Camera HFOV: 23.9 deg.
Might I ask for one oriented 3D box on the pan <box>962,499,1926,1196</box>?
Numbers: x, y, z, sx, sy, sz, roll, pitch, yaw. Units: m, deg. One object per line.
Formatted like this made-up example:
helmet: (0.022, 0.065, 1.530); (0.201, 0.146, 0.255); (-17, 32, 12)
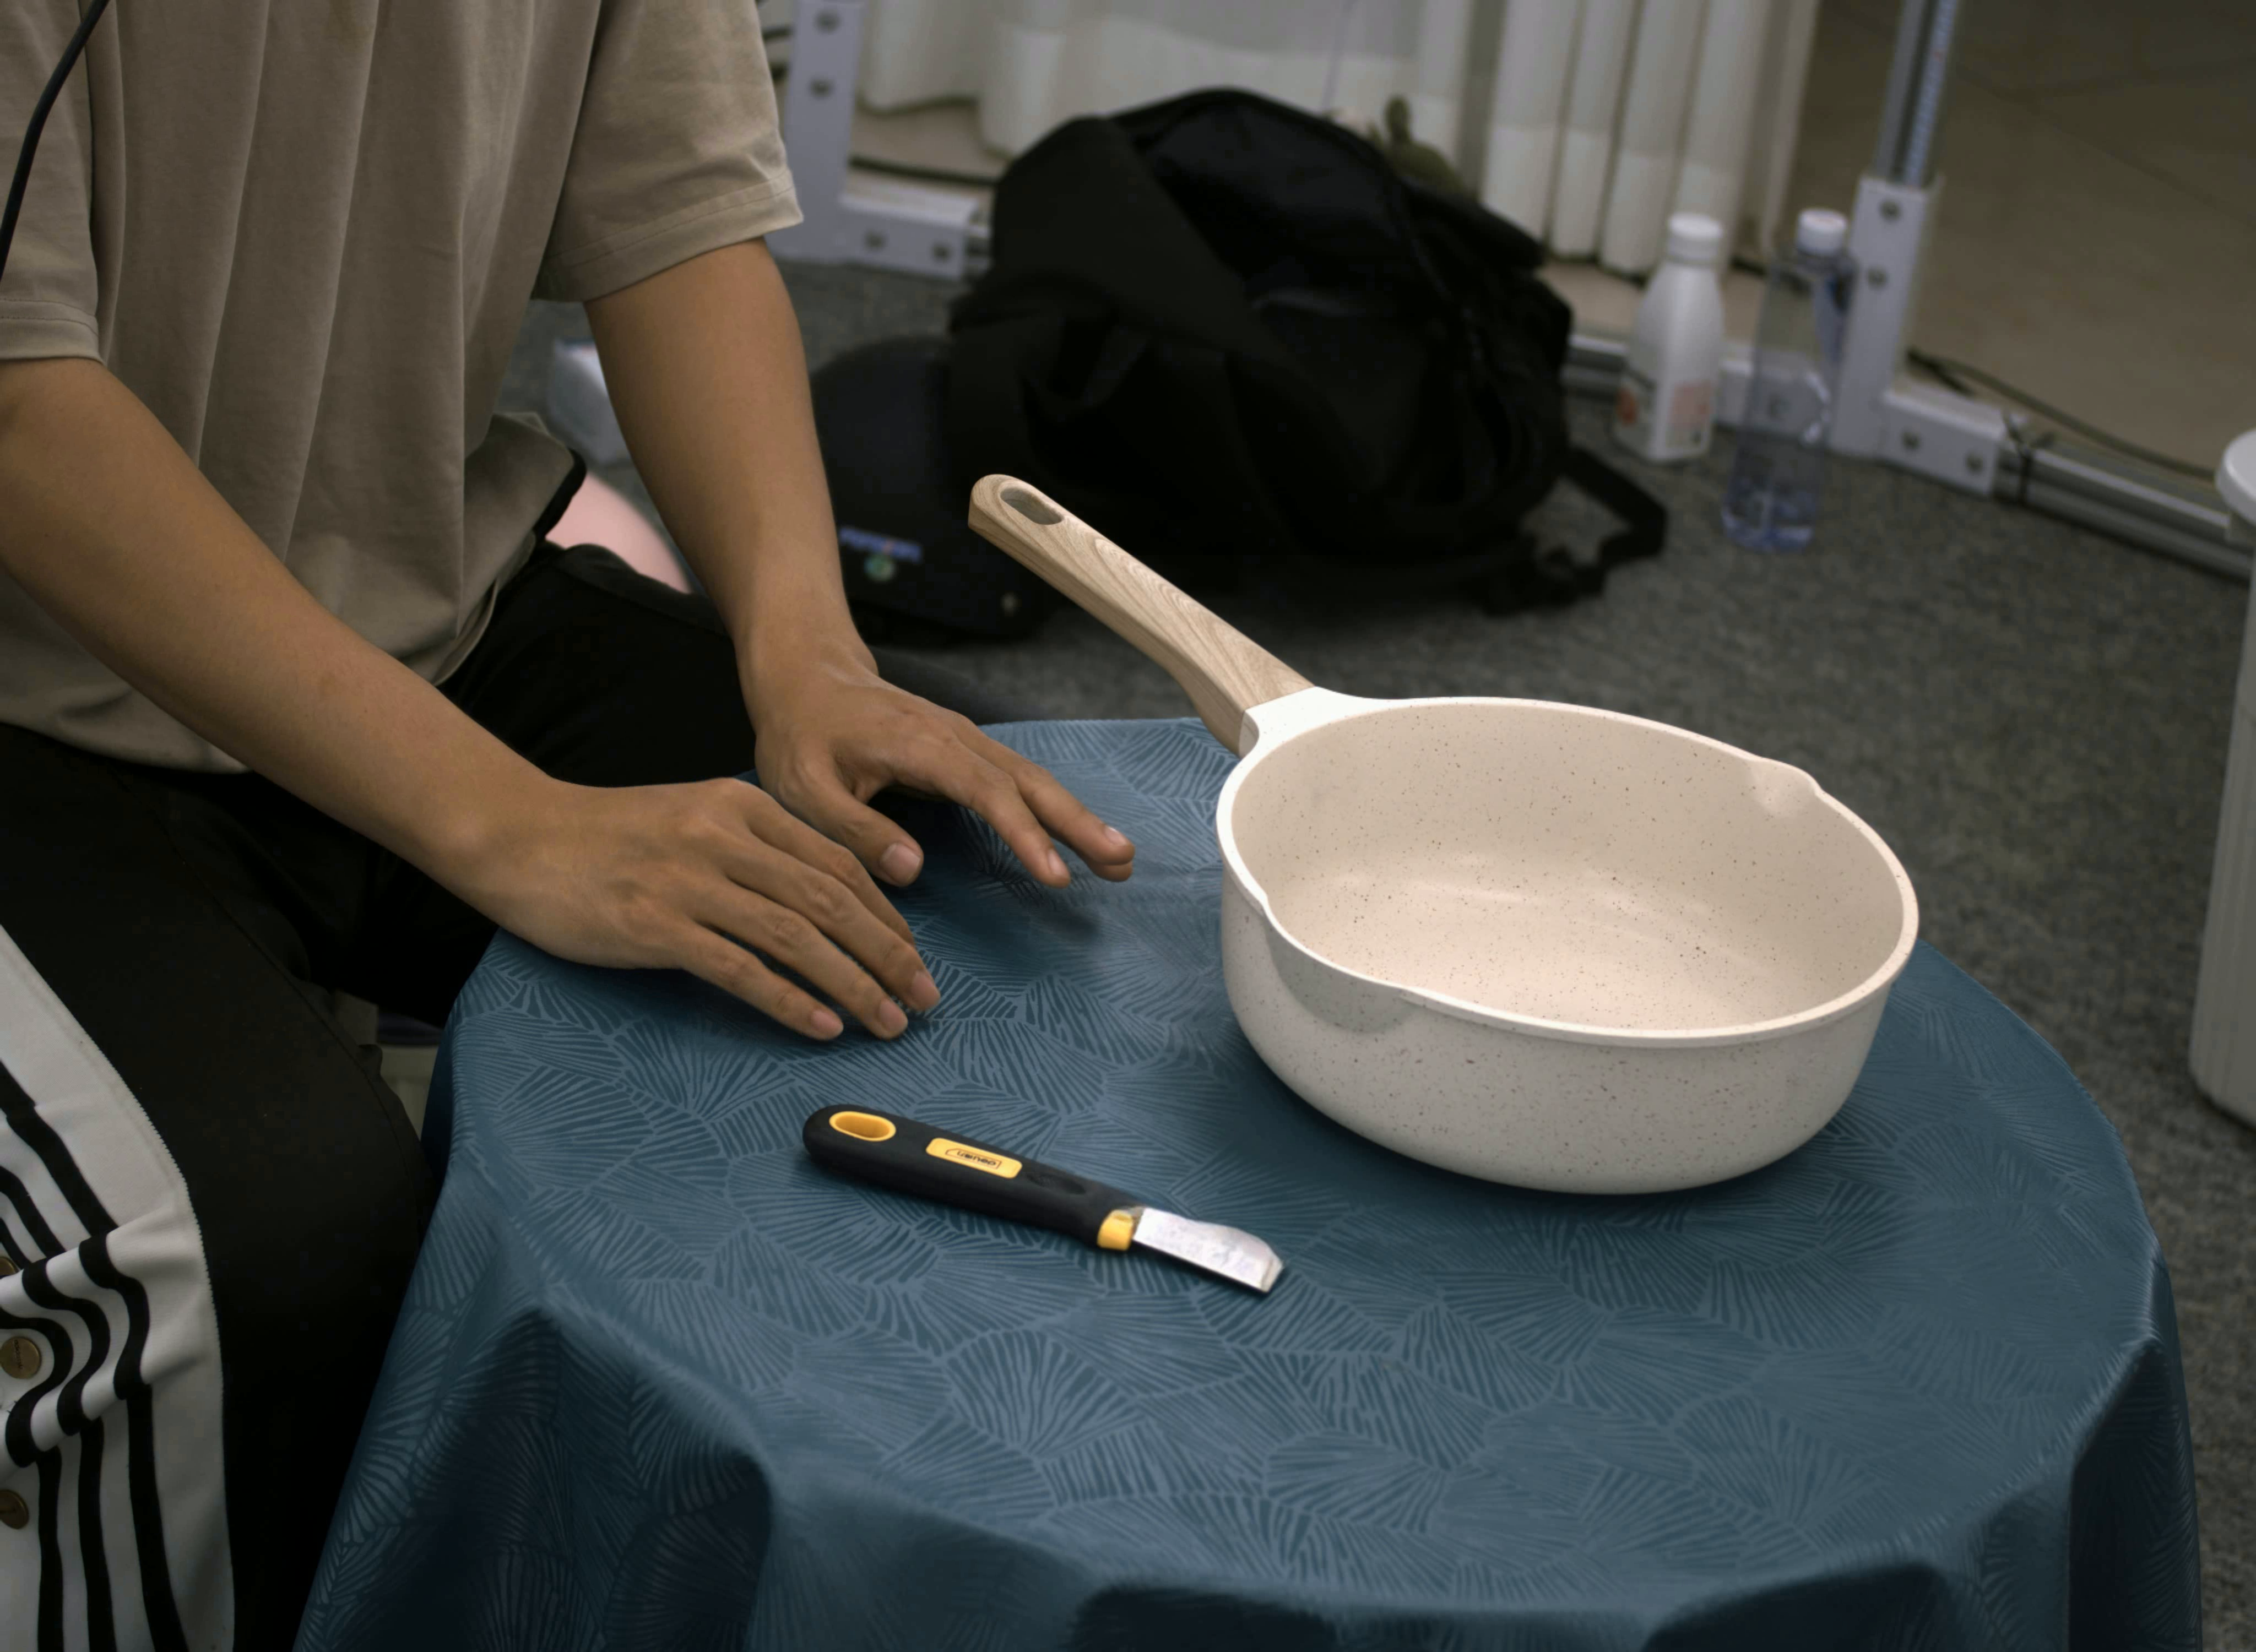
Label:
pan: (0.091, 0.003, 1.959); (0.262, 0.101, 0.438); (-22, 38, -39)

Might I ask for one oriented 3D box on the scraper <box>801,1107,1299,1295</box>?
scraper: (-0.028, 0.125, 1.778); (0.171, 0.015, 0.039); (15, 33, 10)
